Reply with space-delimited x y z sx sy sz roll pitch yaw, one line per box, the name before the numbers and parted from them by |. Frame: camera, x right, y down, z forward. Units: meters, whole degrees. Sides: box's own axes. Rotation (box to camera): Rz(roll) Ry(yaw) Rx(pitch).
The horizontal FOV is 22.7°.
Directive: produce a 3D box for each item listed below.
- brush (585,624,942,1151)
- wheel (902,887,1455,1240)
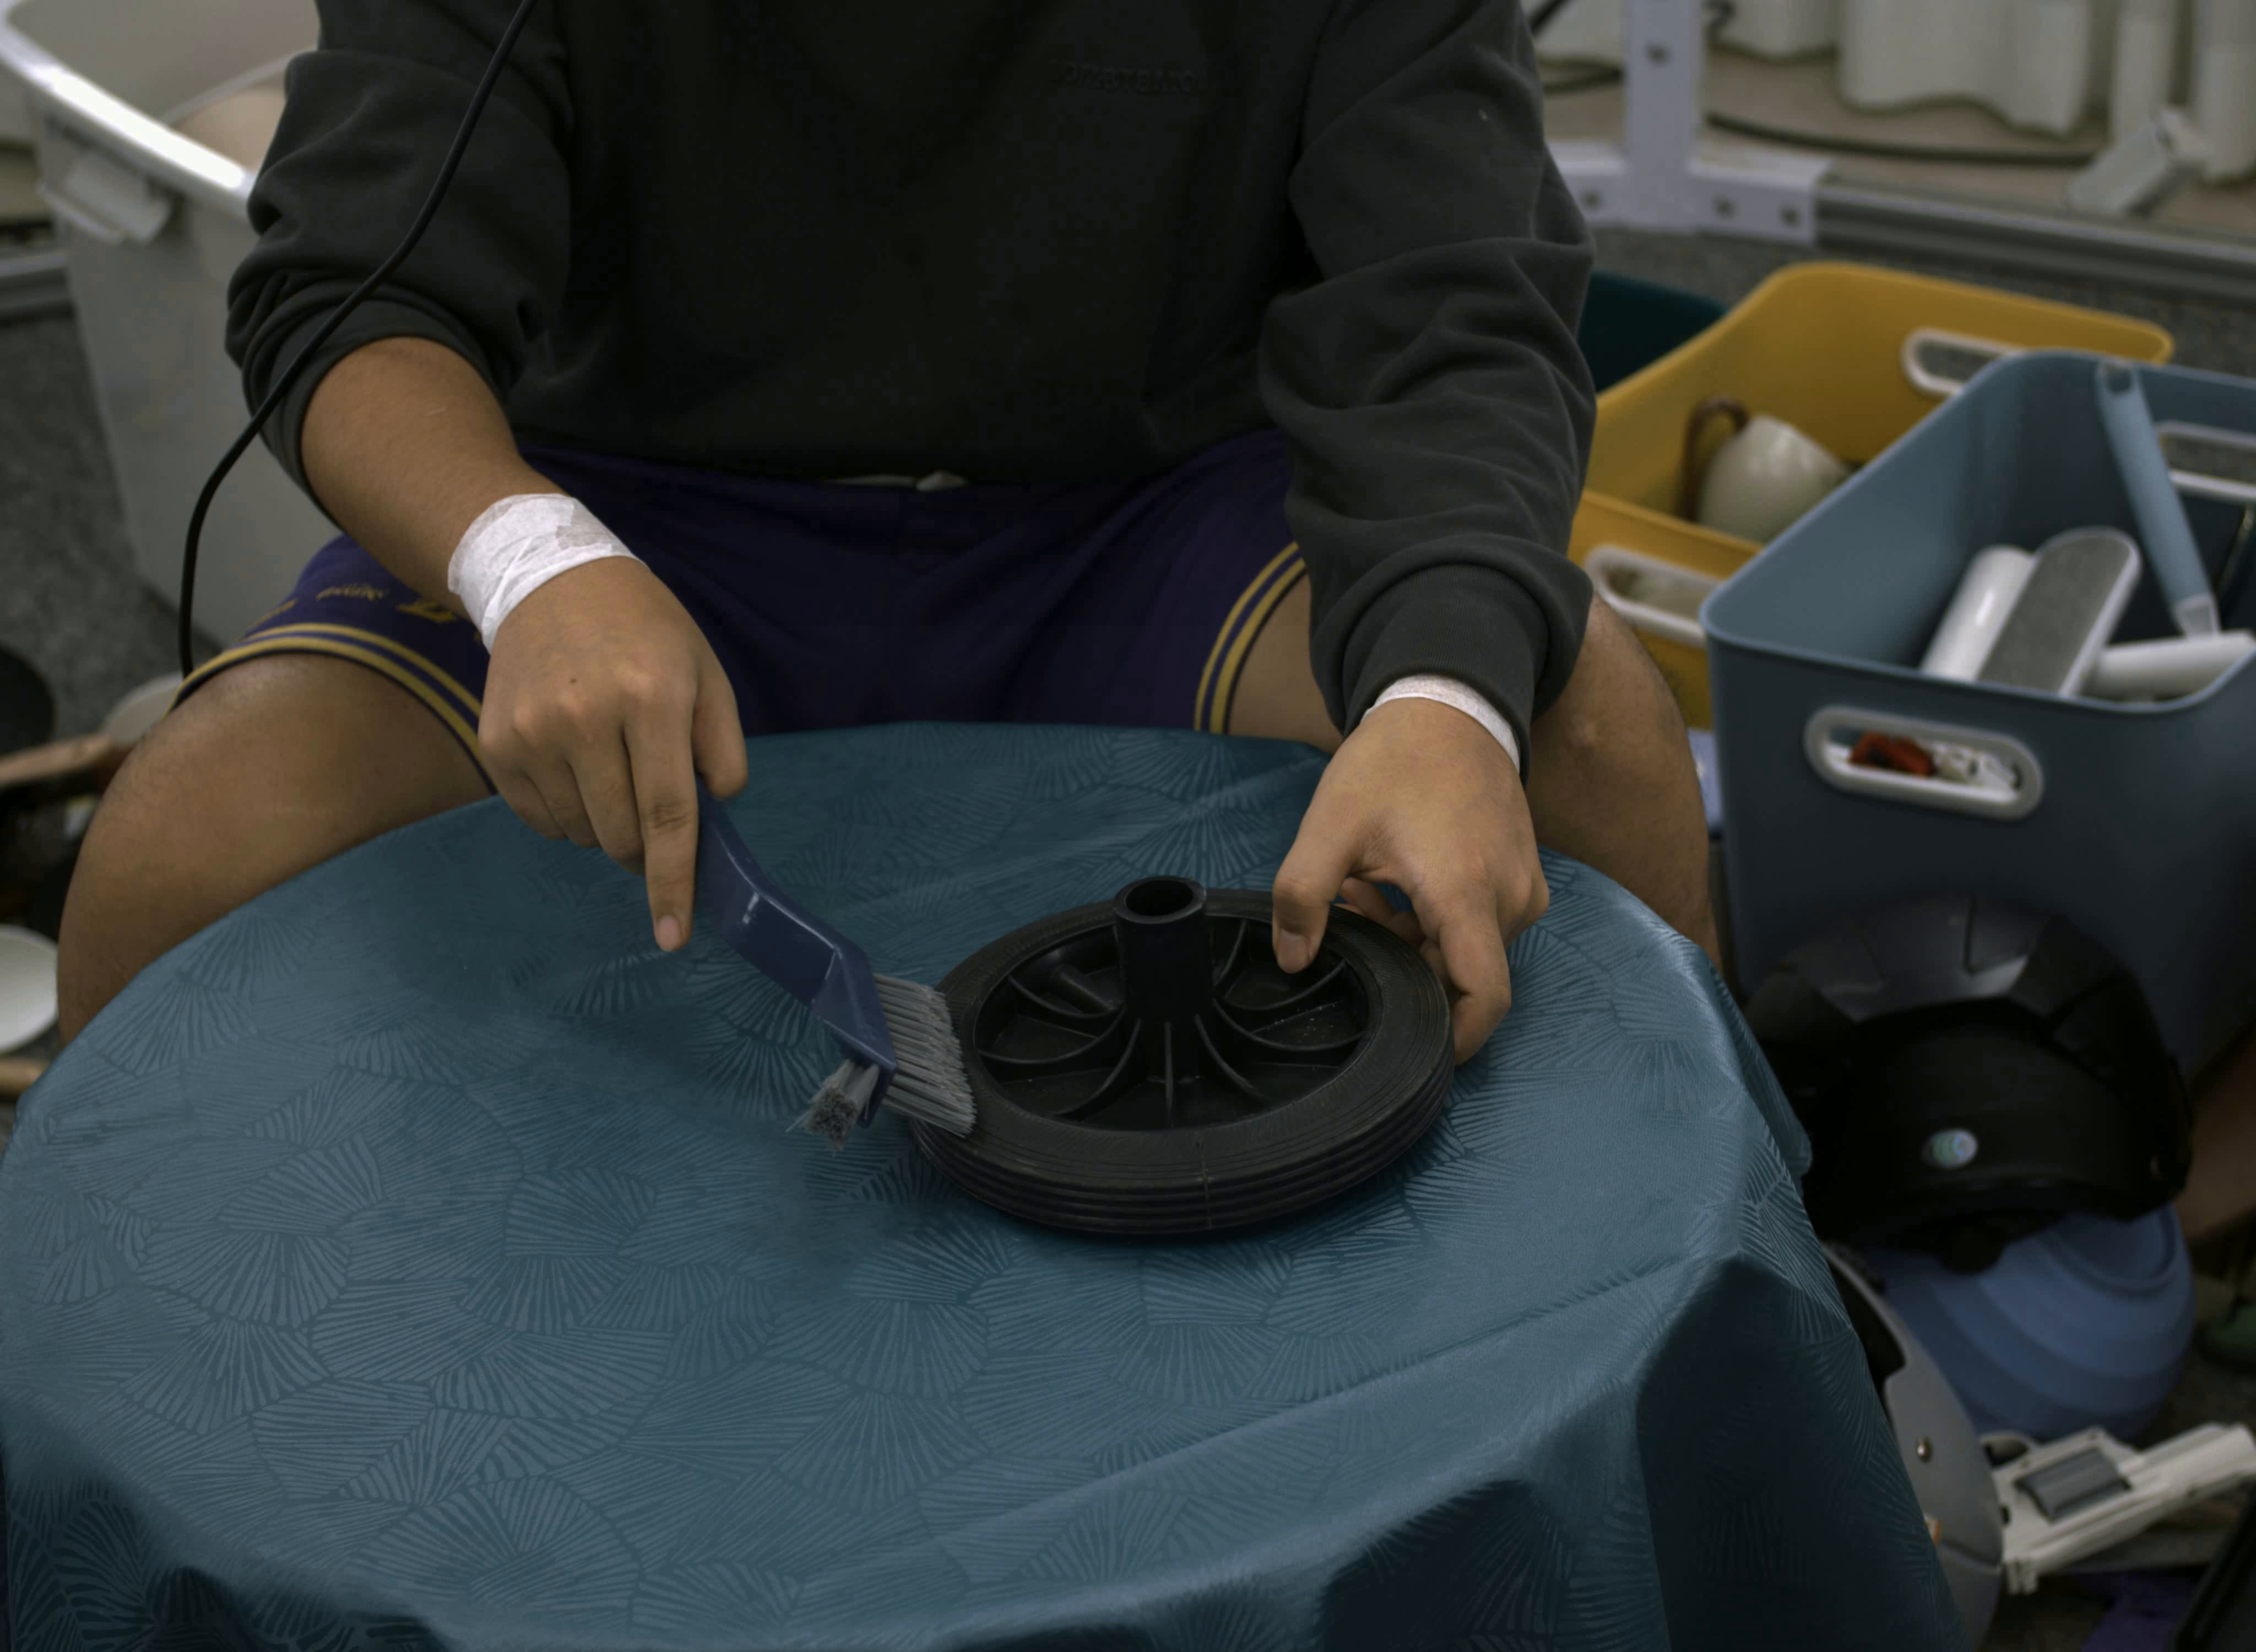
brush | -0.142 0.018 1.920 0.096 0.033 0.275 1 34 -40
wheel | 0.014 0.062 1.893 0.188 0.078 0.190 11 34 28
